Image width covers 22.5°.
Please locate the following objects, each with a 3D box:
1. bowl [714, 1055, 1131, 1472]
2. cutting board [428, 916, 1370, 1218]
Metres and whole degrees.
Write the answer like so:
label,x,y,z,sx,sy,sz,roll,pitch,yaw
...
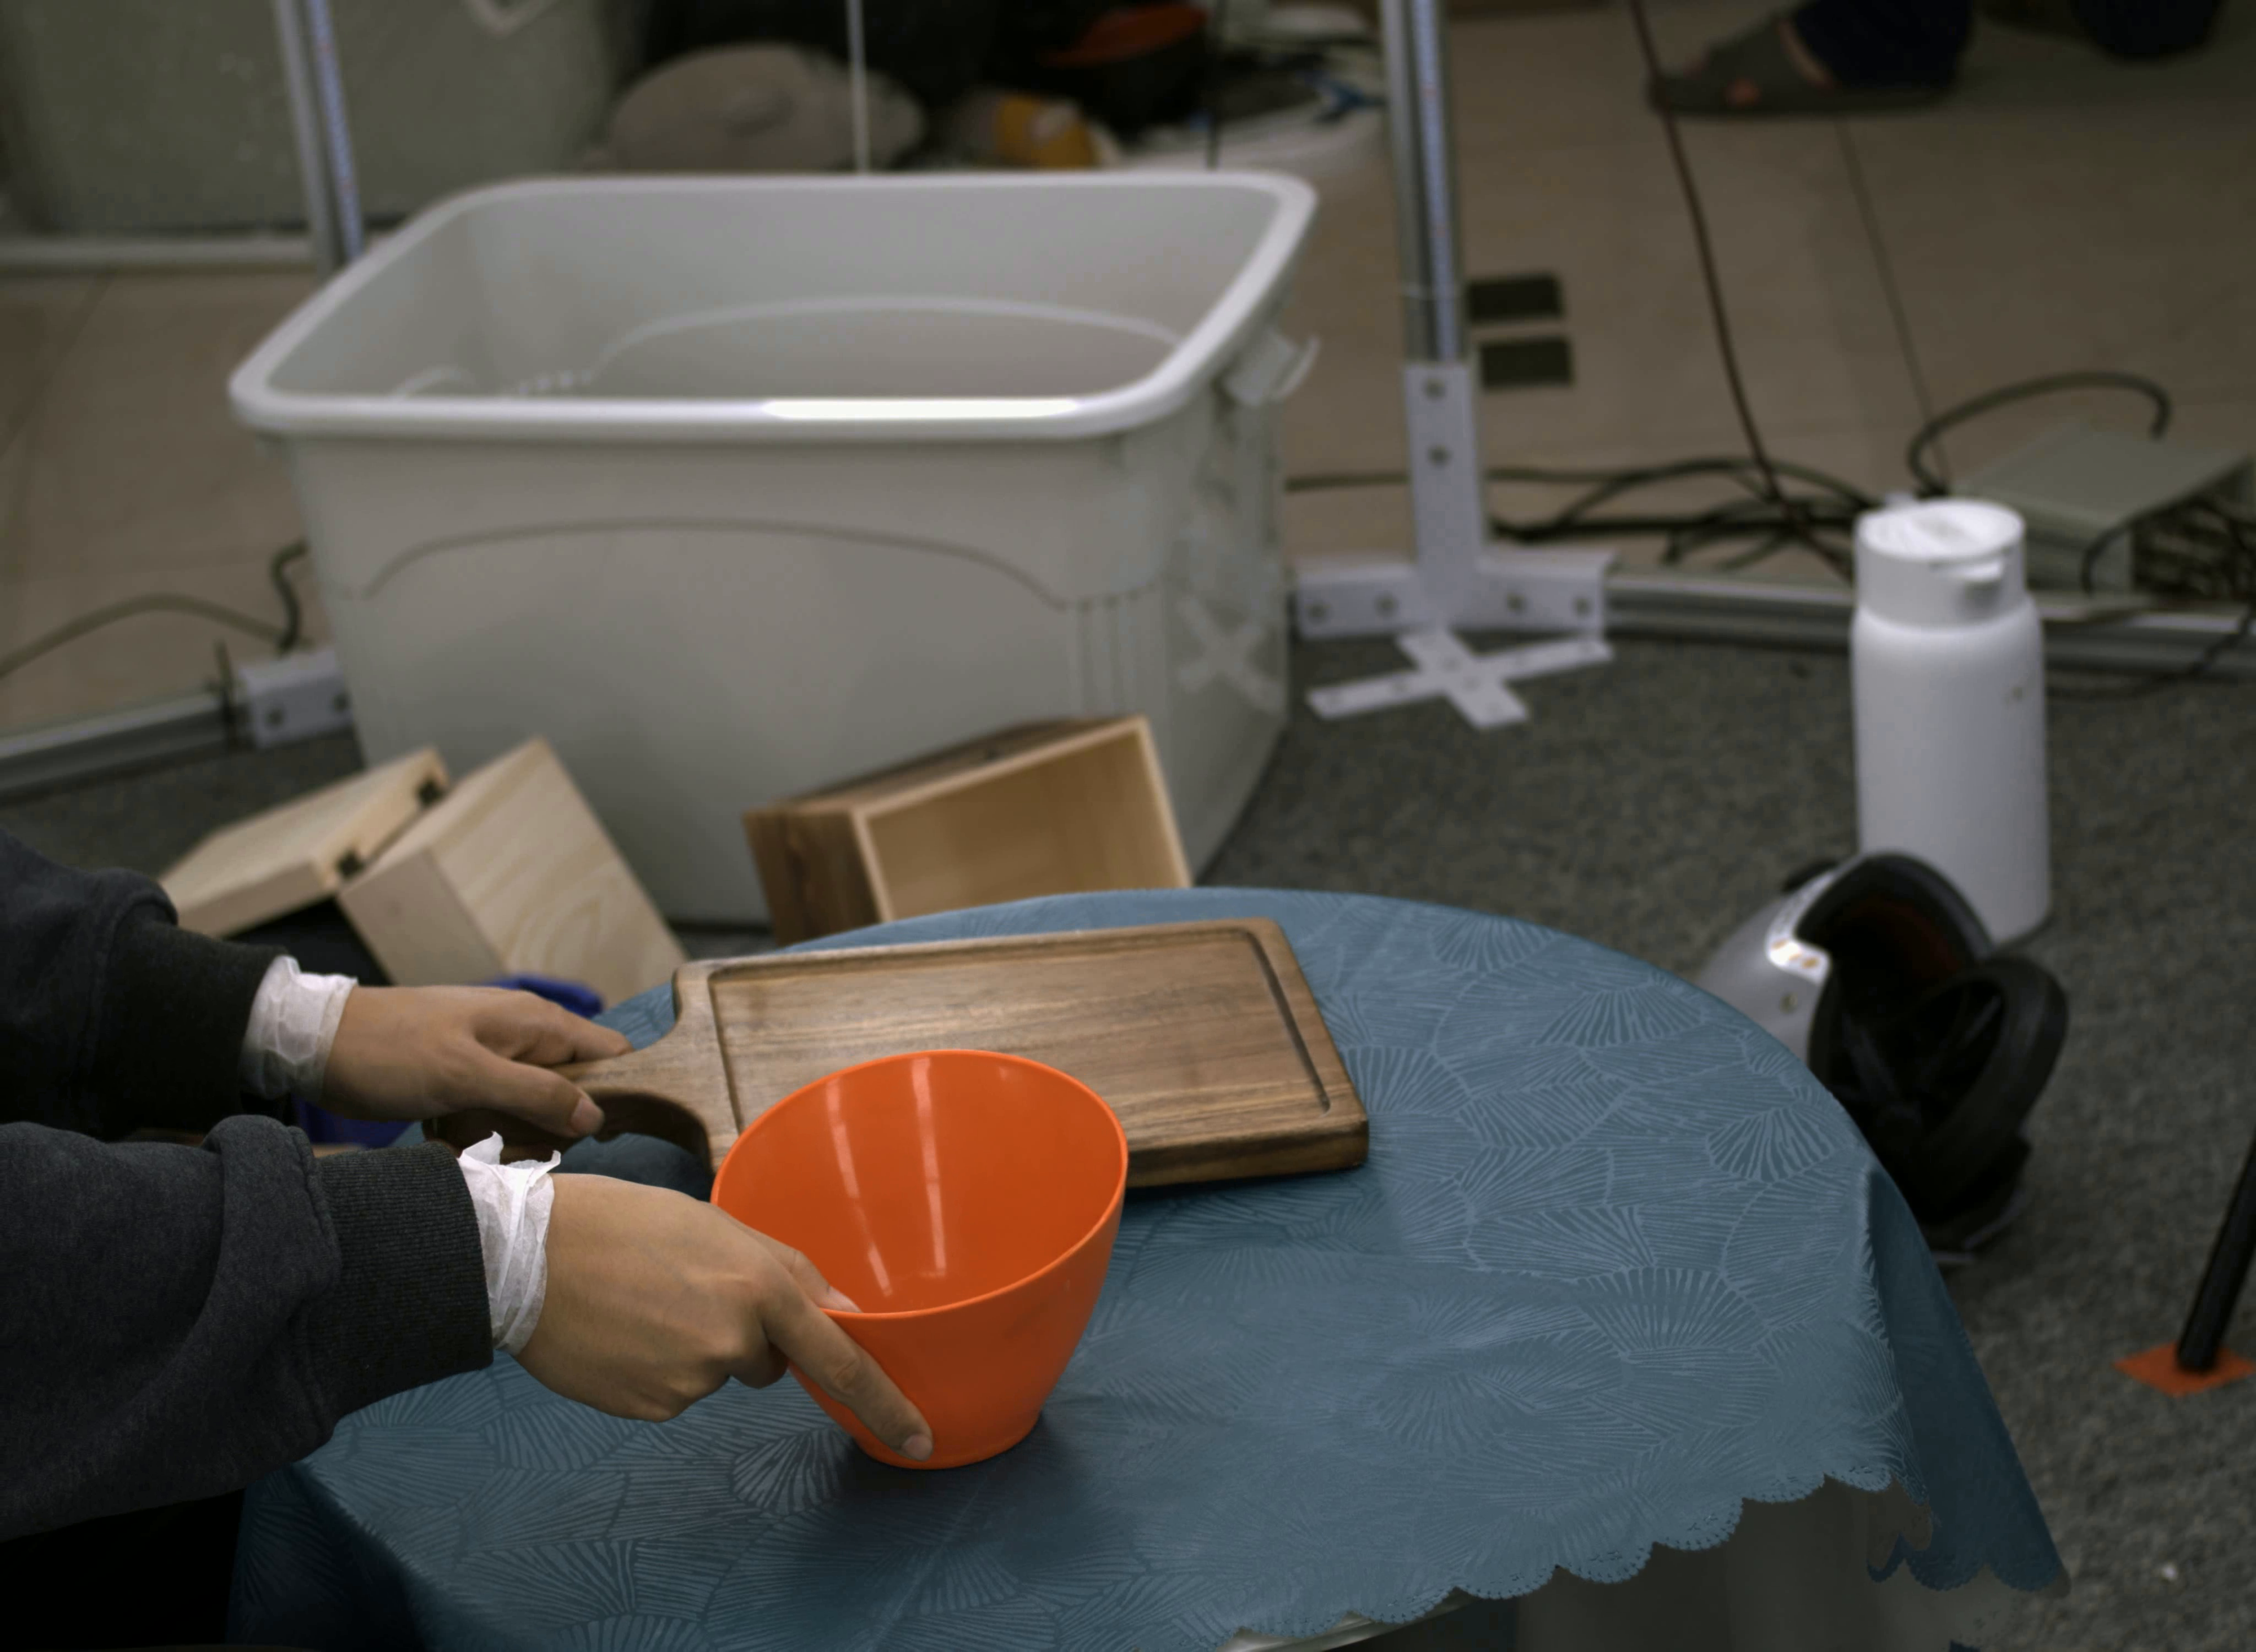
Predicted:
label,x,y,z,sx,sy,sz,roll,pitch,yaw
bowl,-0.068,0.160,1.996,0.148,0.106,0.146,-5,25,2
cutting board,-0.096,0.095,2.203,0.351,0.023,0.198,-5,24,-8
